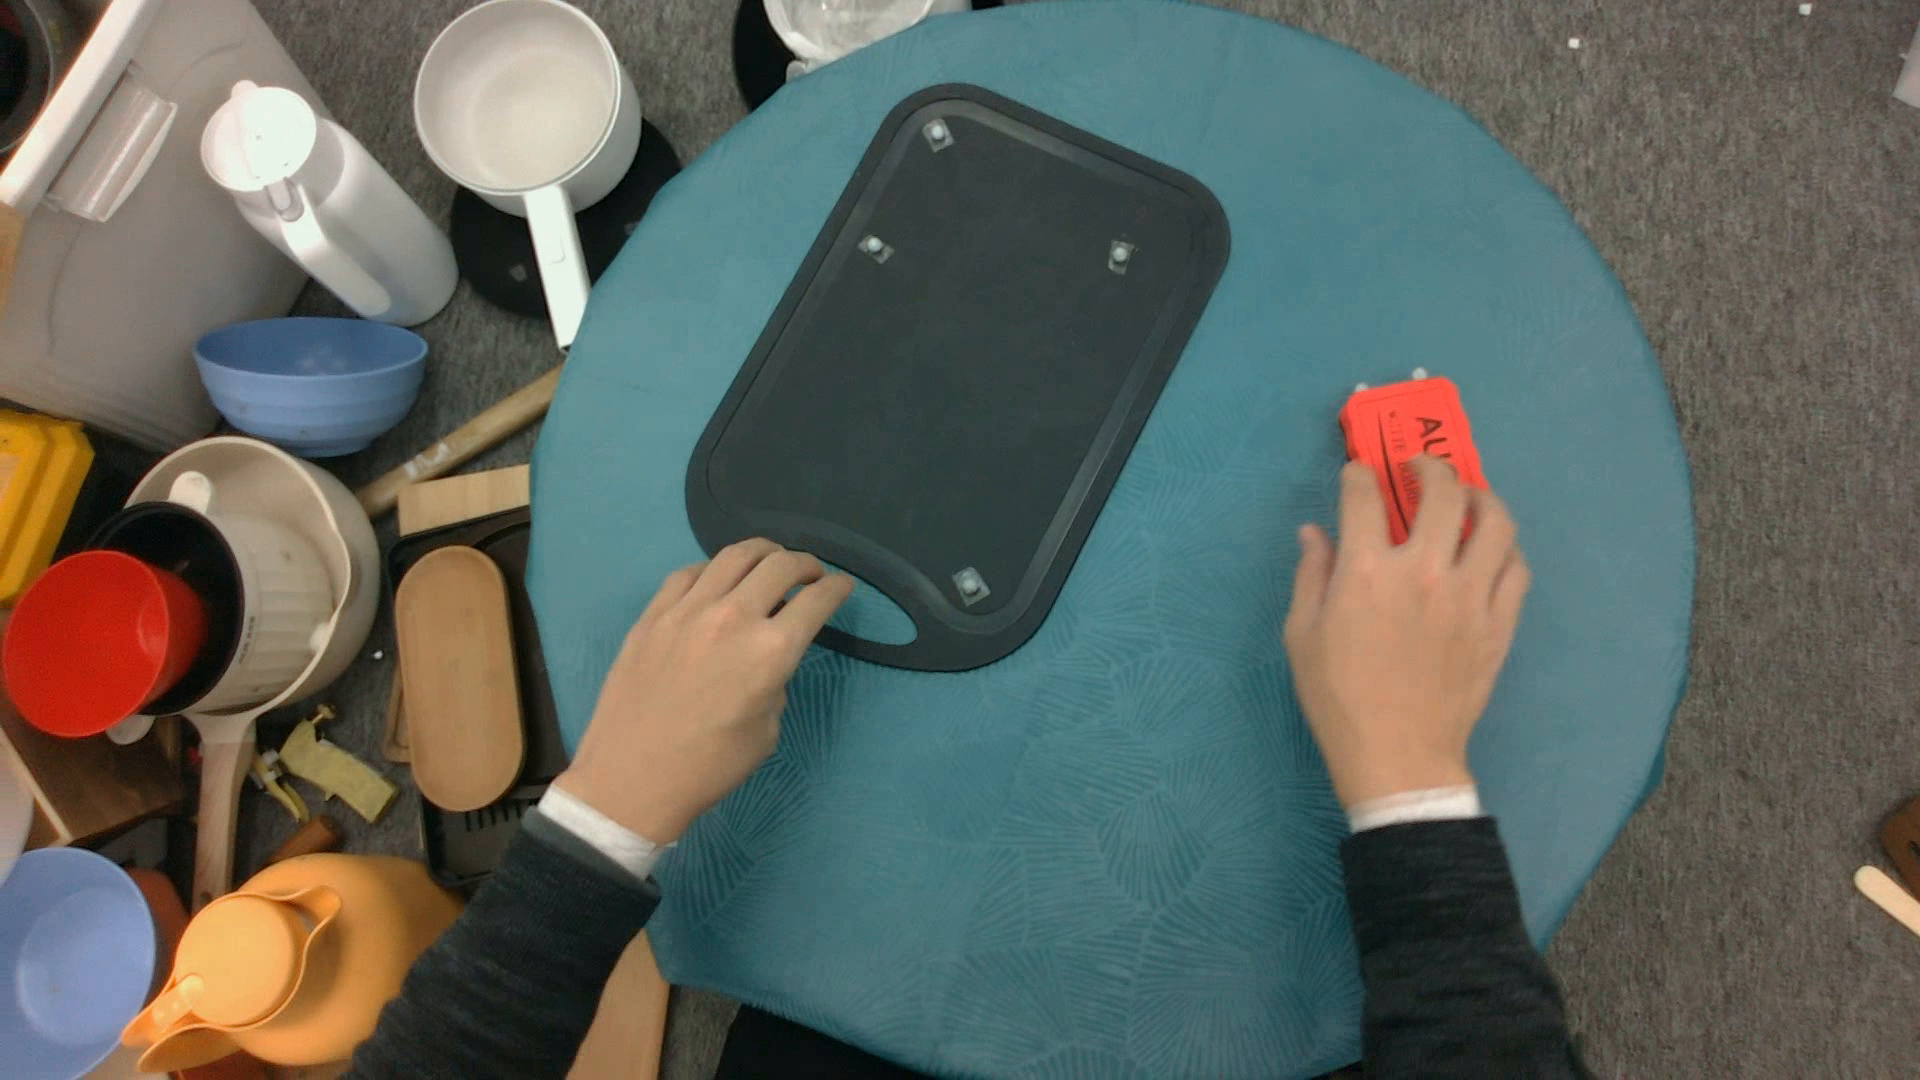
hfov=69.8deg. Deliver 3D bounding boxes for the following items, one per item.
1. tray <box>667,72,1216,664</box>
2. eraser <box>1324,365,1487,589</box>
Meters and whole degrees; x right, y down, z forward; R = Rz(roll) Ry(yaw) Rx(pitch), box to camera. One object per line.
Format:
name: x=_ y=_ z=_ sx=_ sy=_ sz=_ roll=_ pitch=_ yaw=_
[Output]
tray: x=-0.012 y=-0.095 z=0.735 sx=0.211 sy=0.010 sz=0.326 roll=27 pitch=78 yaw=10
eraser: x=0.225 y=-0.032 z=0.698 sx=0.059 sy=0.023 sz=0.108 roll=-11 pitch=75 yaw=3
